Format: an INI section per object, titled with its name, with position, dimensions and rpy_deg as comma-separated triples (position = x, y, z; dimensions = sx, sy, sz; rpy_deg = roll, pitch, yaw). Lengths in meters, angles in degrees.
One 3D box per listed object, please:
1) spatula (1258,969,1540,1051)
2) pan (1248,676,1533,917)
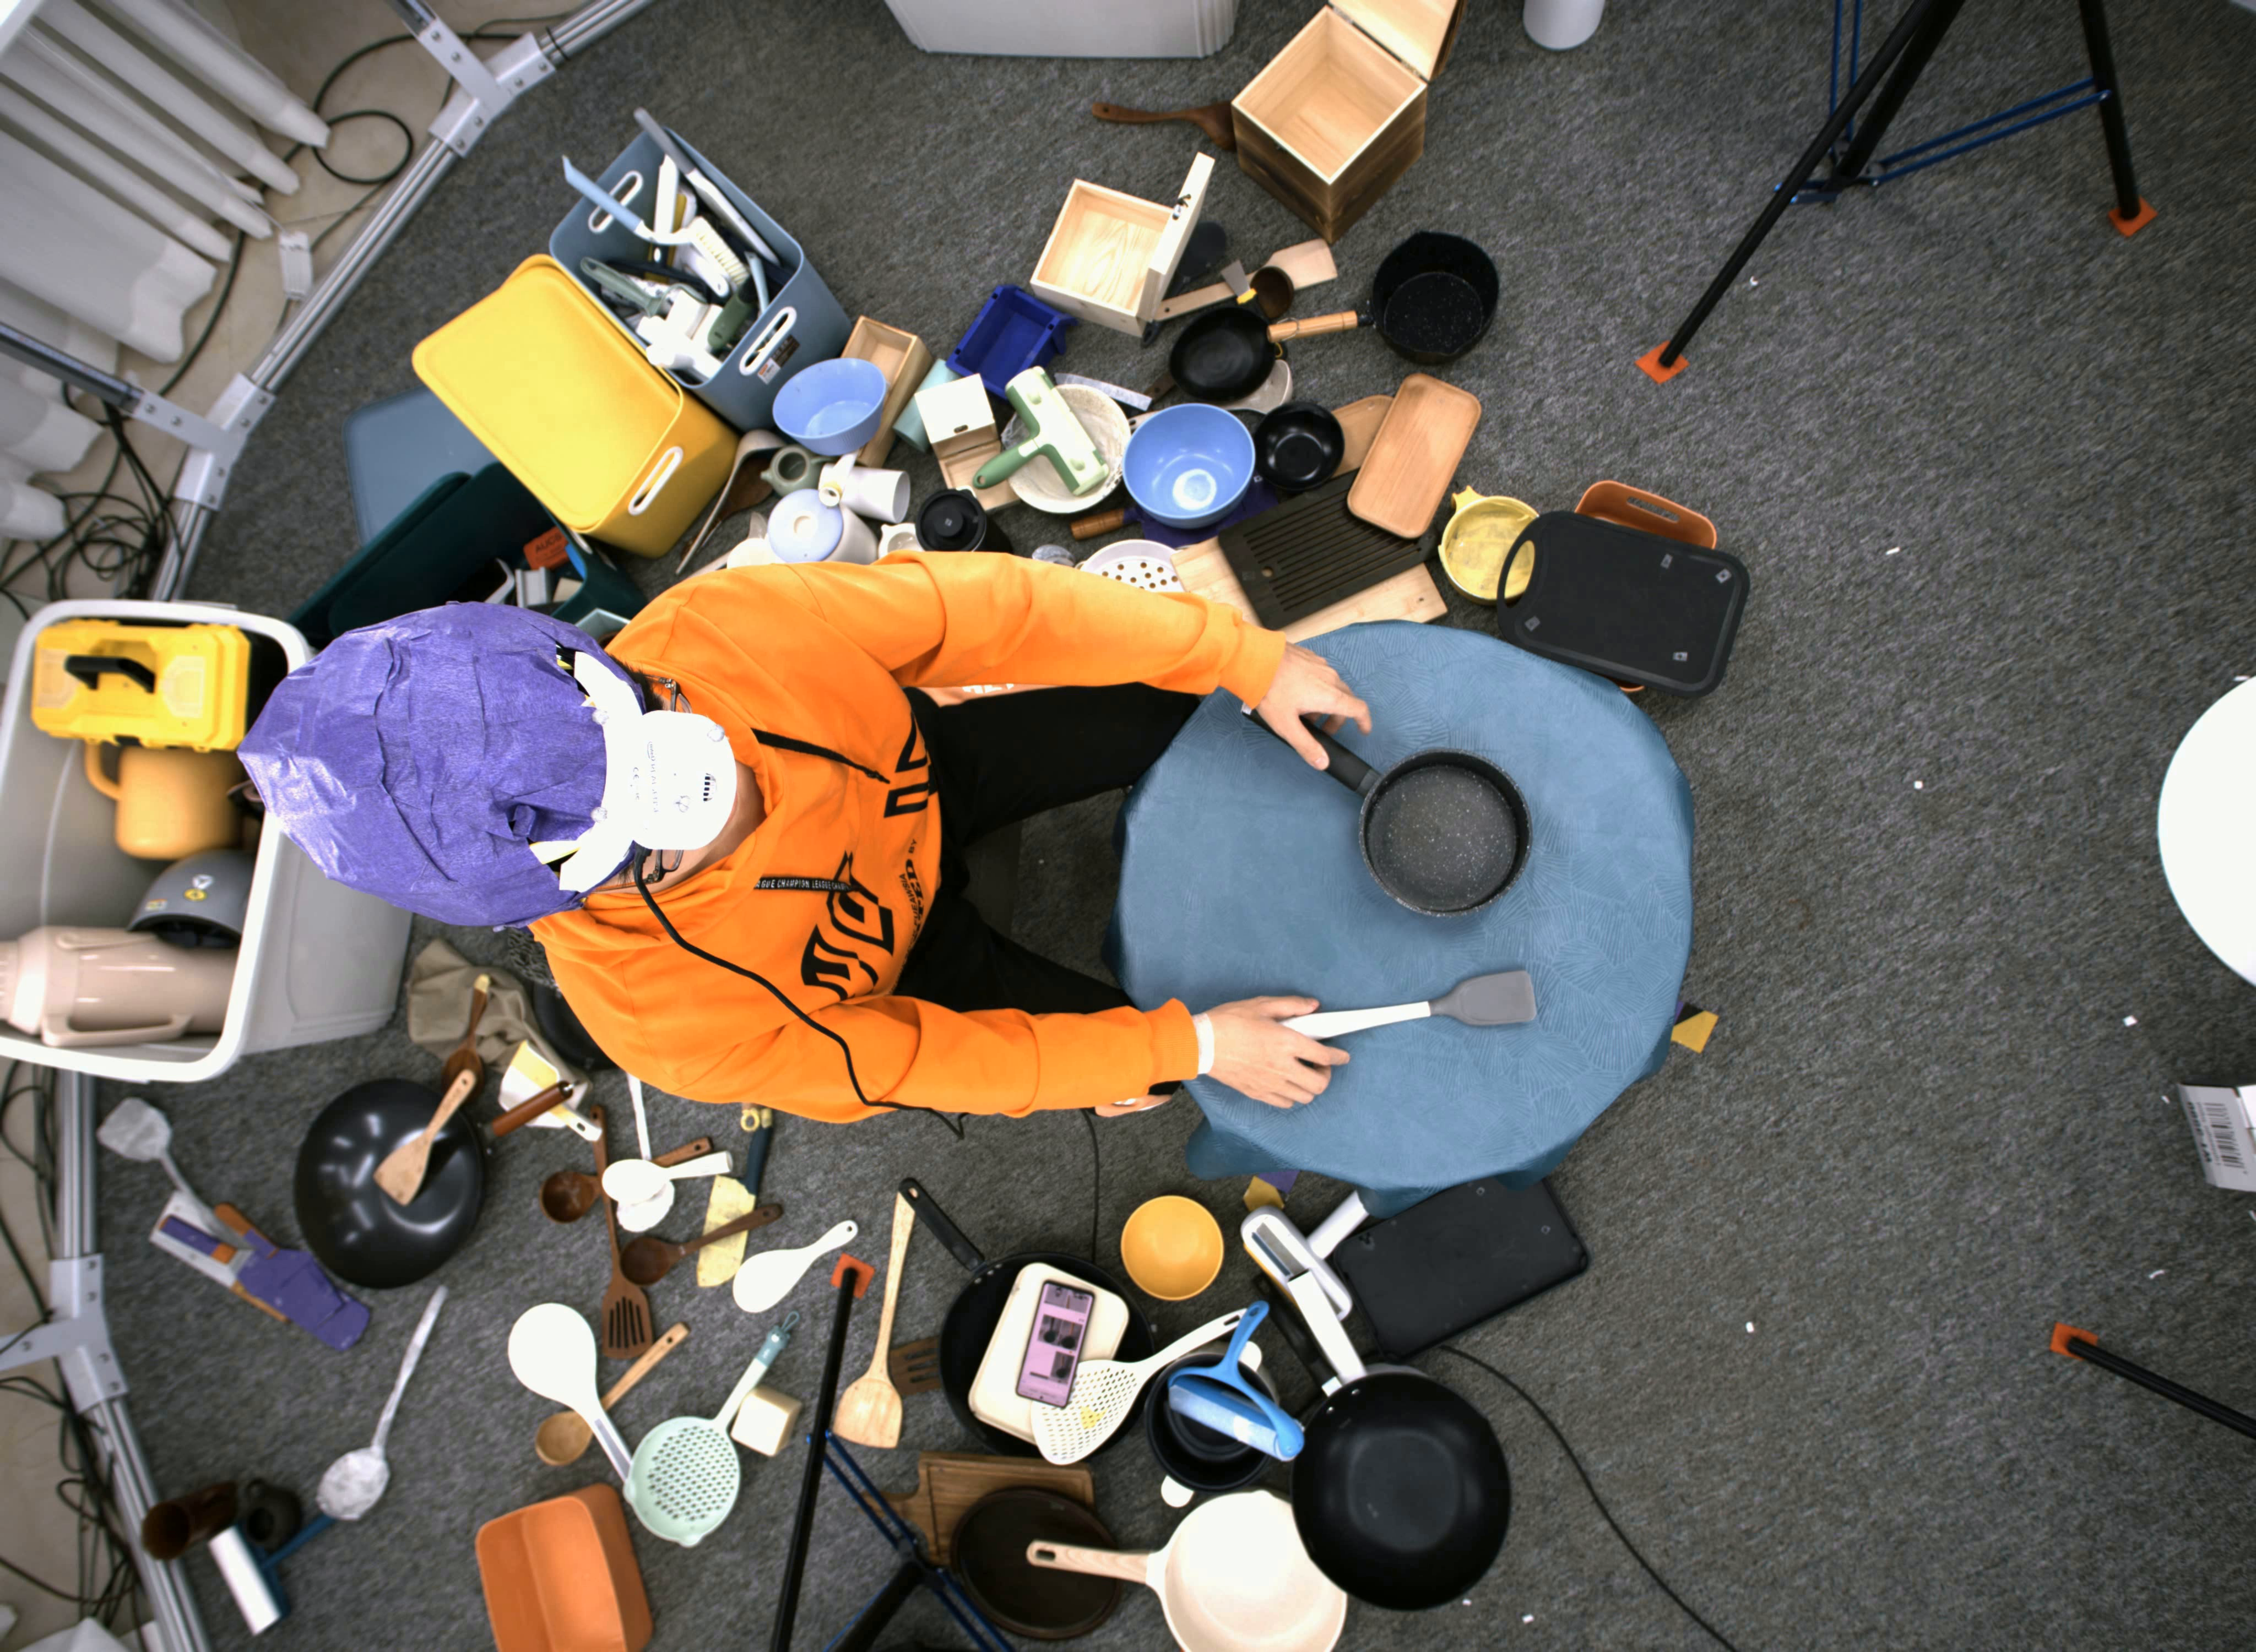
[spatula]
position = 0.279, 0.194, 1.435
dimensions = 0.289, 0.032, 0.058
rpy_deg = -10, 82, 10
[pan]
position = 0.261, -0.040, 1.425
dimensions = 0.328, 0.086, 0.172
rpy_deg = 38, 93, 8
